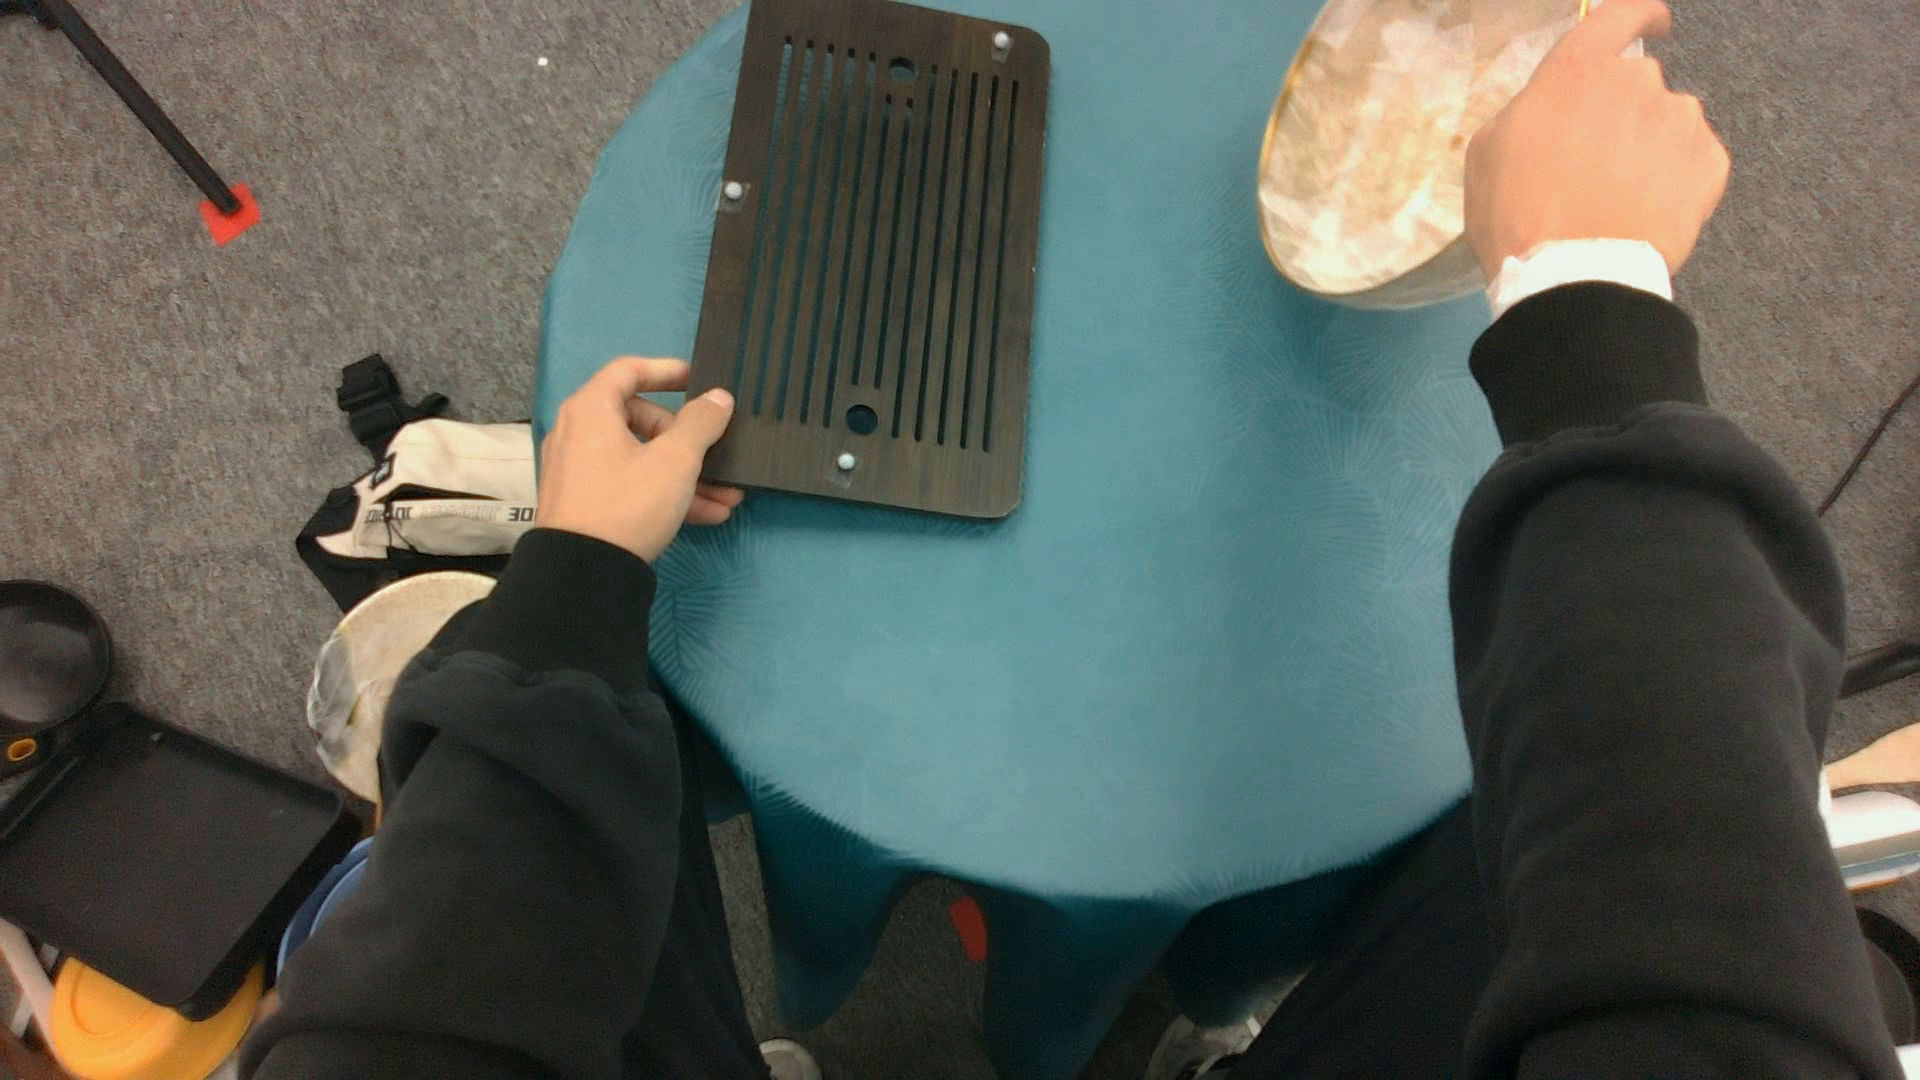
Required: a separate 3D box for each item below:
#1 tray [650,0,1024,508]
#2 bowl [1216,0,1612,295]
[{"bbox_3d":[-0.057,-0.165,0.729,0.170,0.018,0.307,8,68,-9],"label":"tray"},{"bbox_3d":[0.228,-0.204,0.667,0.094,0.214,0.215,18,64,-31],"label":"bowl"}]
